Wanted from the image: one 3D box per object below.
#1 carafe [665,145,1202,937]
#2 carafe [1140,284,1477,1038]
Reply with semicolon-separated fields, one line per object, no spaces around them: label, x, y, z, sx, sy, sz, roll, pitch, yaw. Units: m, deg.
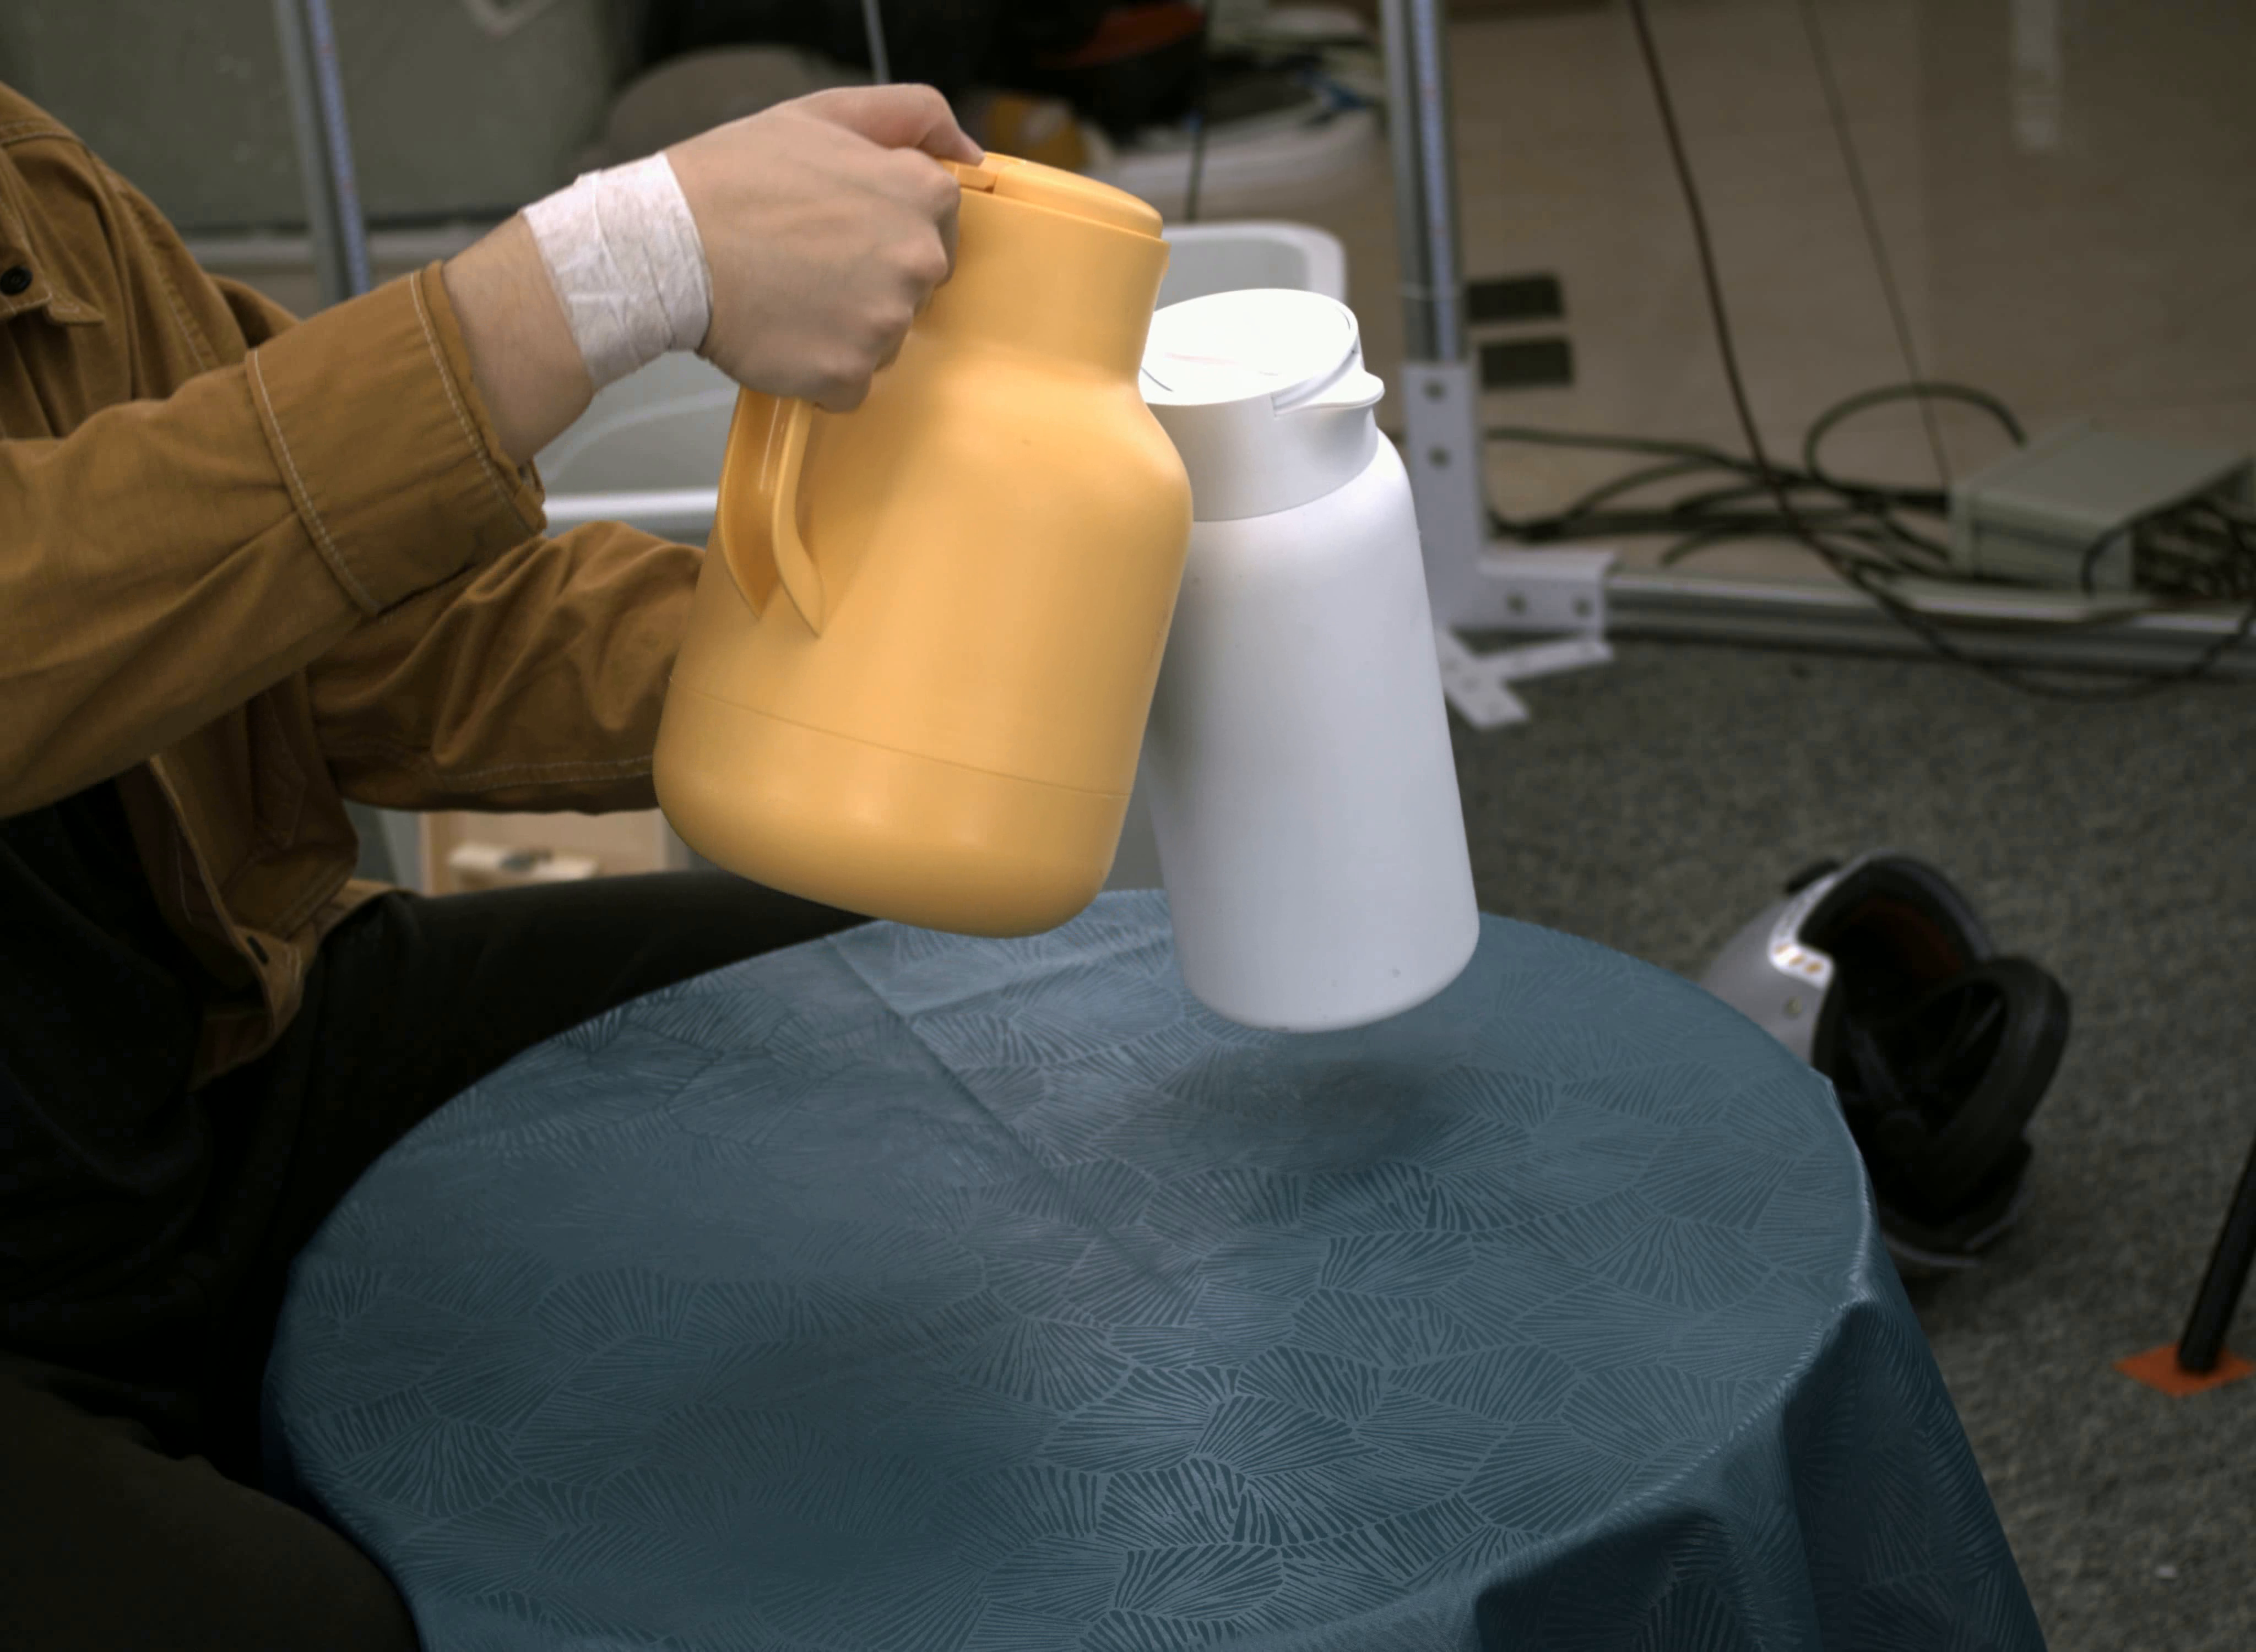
carafe;-0.069;-0.102;1.922;0.162;0.261;0.203;15;4;35
carafe;0.043;-0.062;2.127;0.172;0.273;0.122;13;39;36
